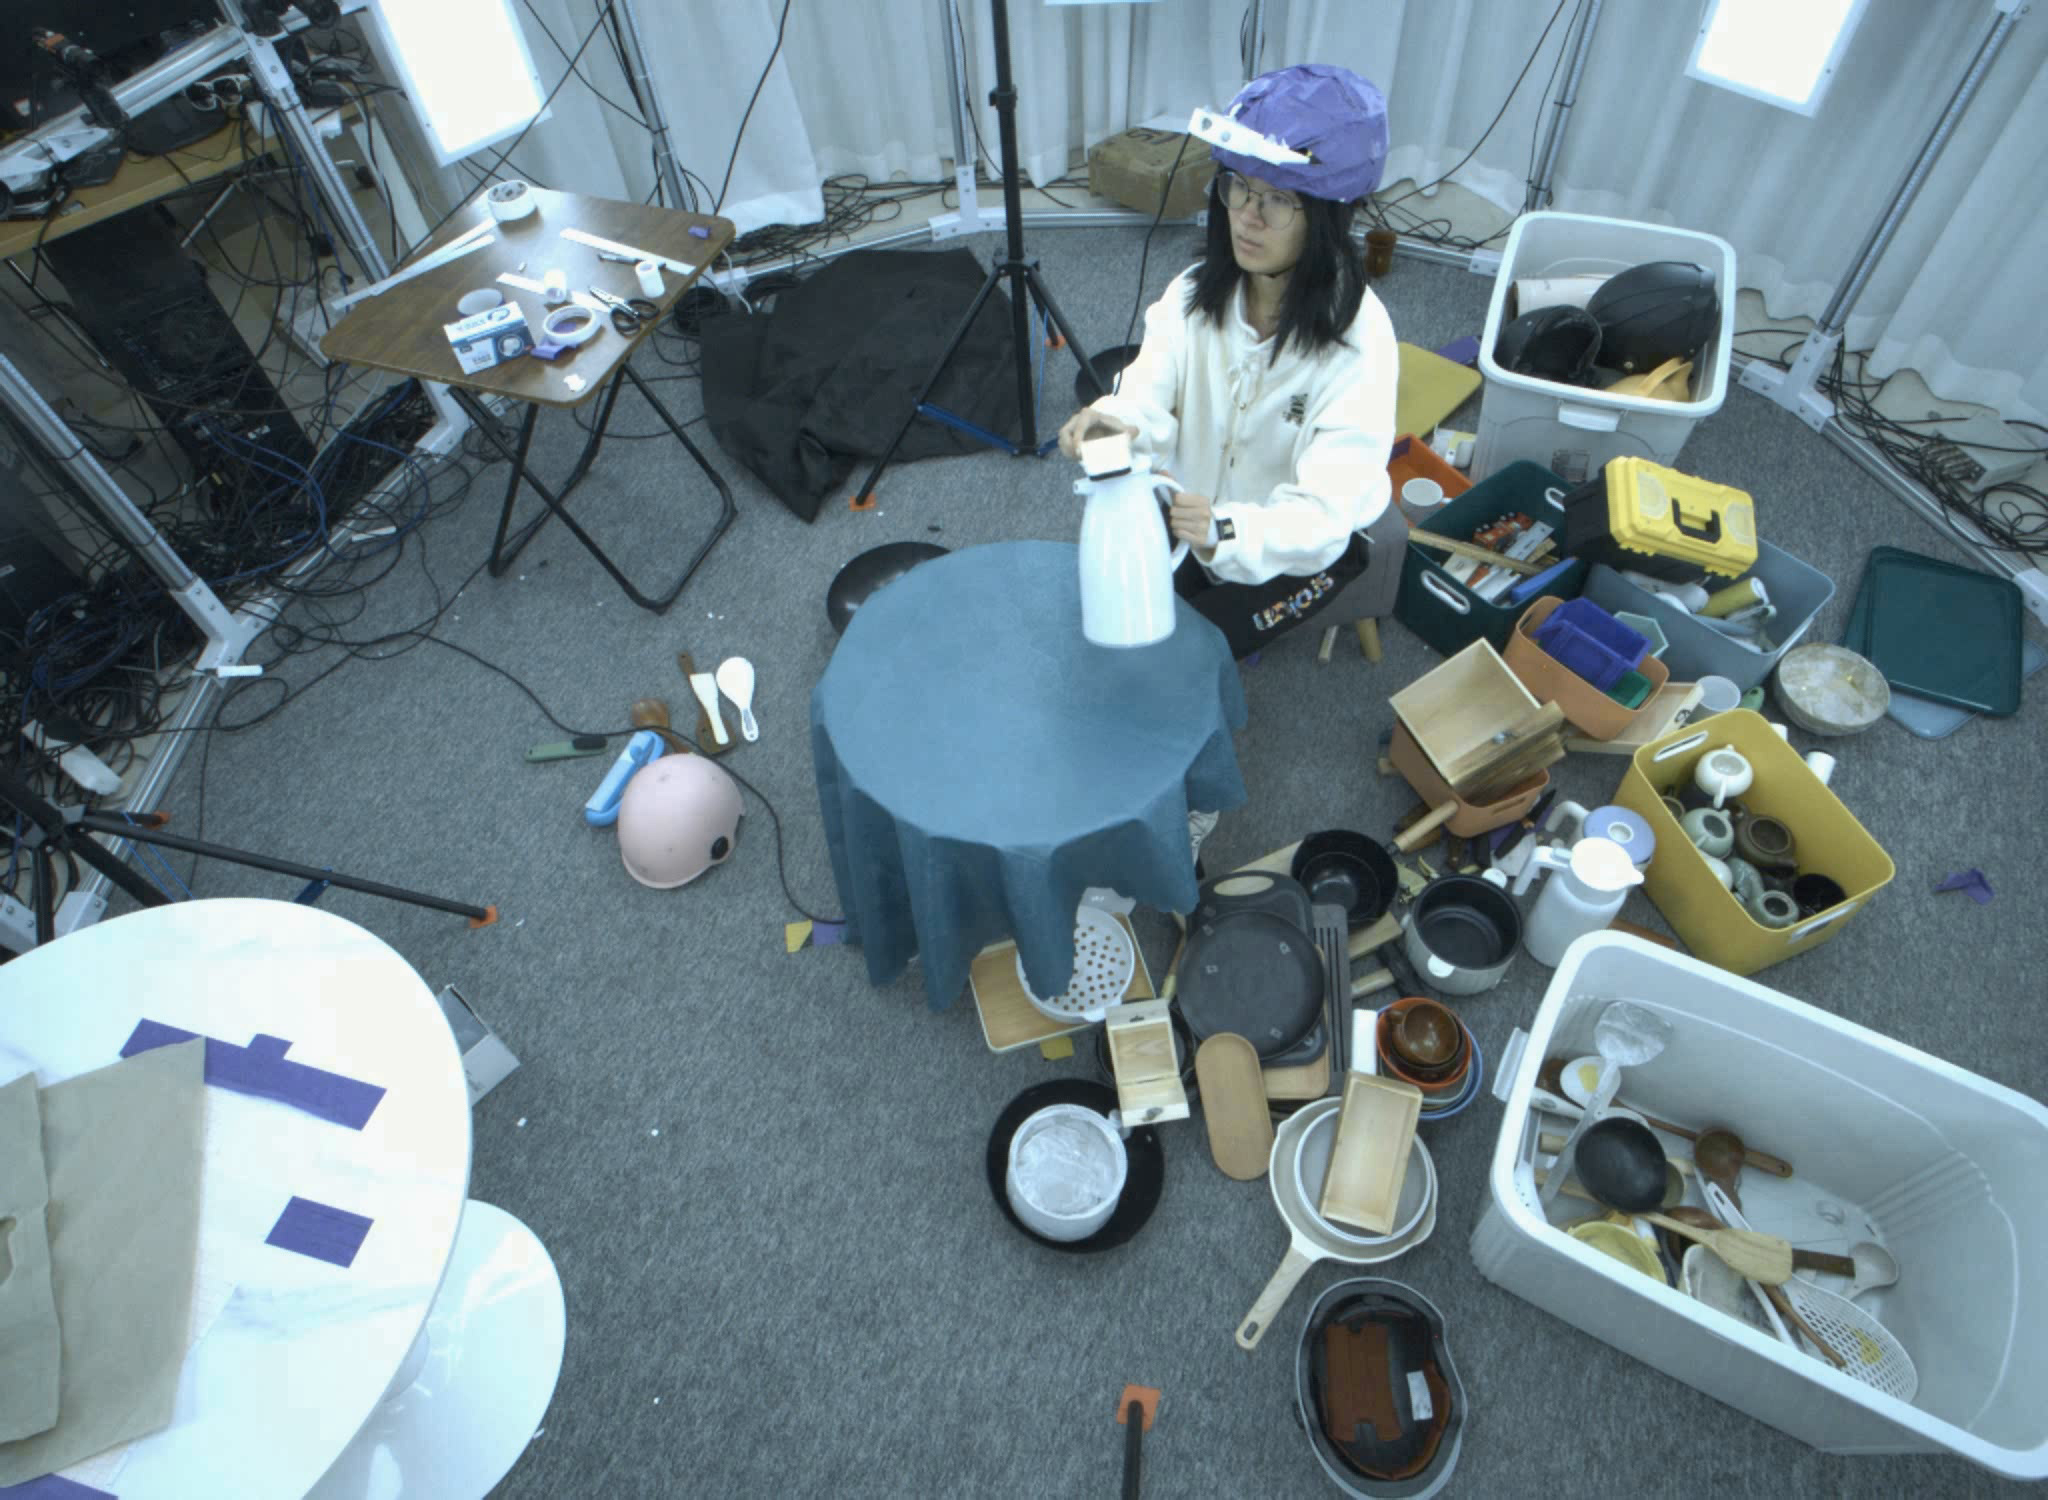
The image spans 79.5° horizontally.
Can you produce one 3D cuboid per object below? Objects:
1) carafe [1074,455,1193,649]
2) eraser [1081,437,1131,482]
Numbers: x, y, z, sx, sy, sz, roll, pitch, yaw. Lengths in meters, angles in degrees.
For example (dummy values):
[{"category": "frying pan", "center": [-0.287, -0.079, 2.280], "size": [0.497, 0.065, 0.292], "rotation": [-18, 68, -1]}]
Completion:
[{"category": "carafe", "center": [0.155, -0.284, 1.703], "size": [0.169, 0.251, 0.130], "rotation": [-14, 29, -15]}, {"category": "eraser", "center": [0.108, -0.390, 1.613], "size": [0.063, 0.035, 0.130], "rotation": [-9, 28, 5]}]
